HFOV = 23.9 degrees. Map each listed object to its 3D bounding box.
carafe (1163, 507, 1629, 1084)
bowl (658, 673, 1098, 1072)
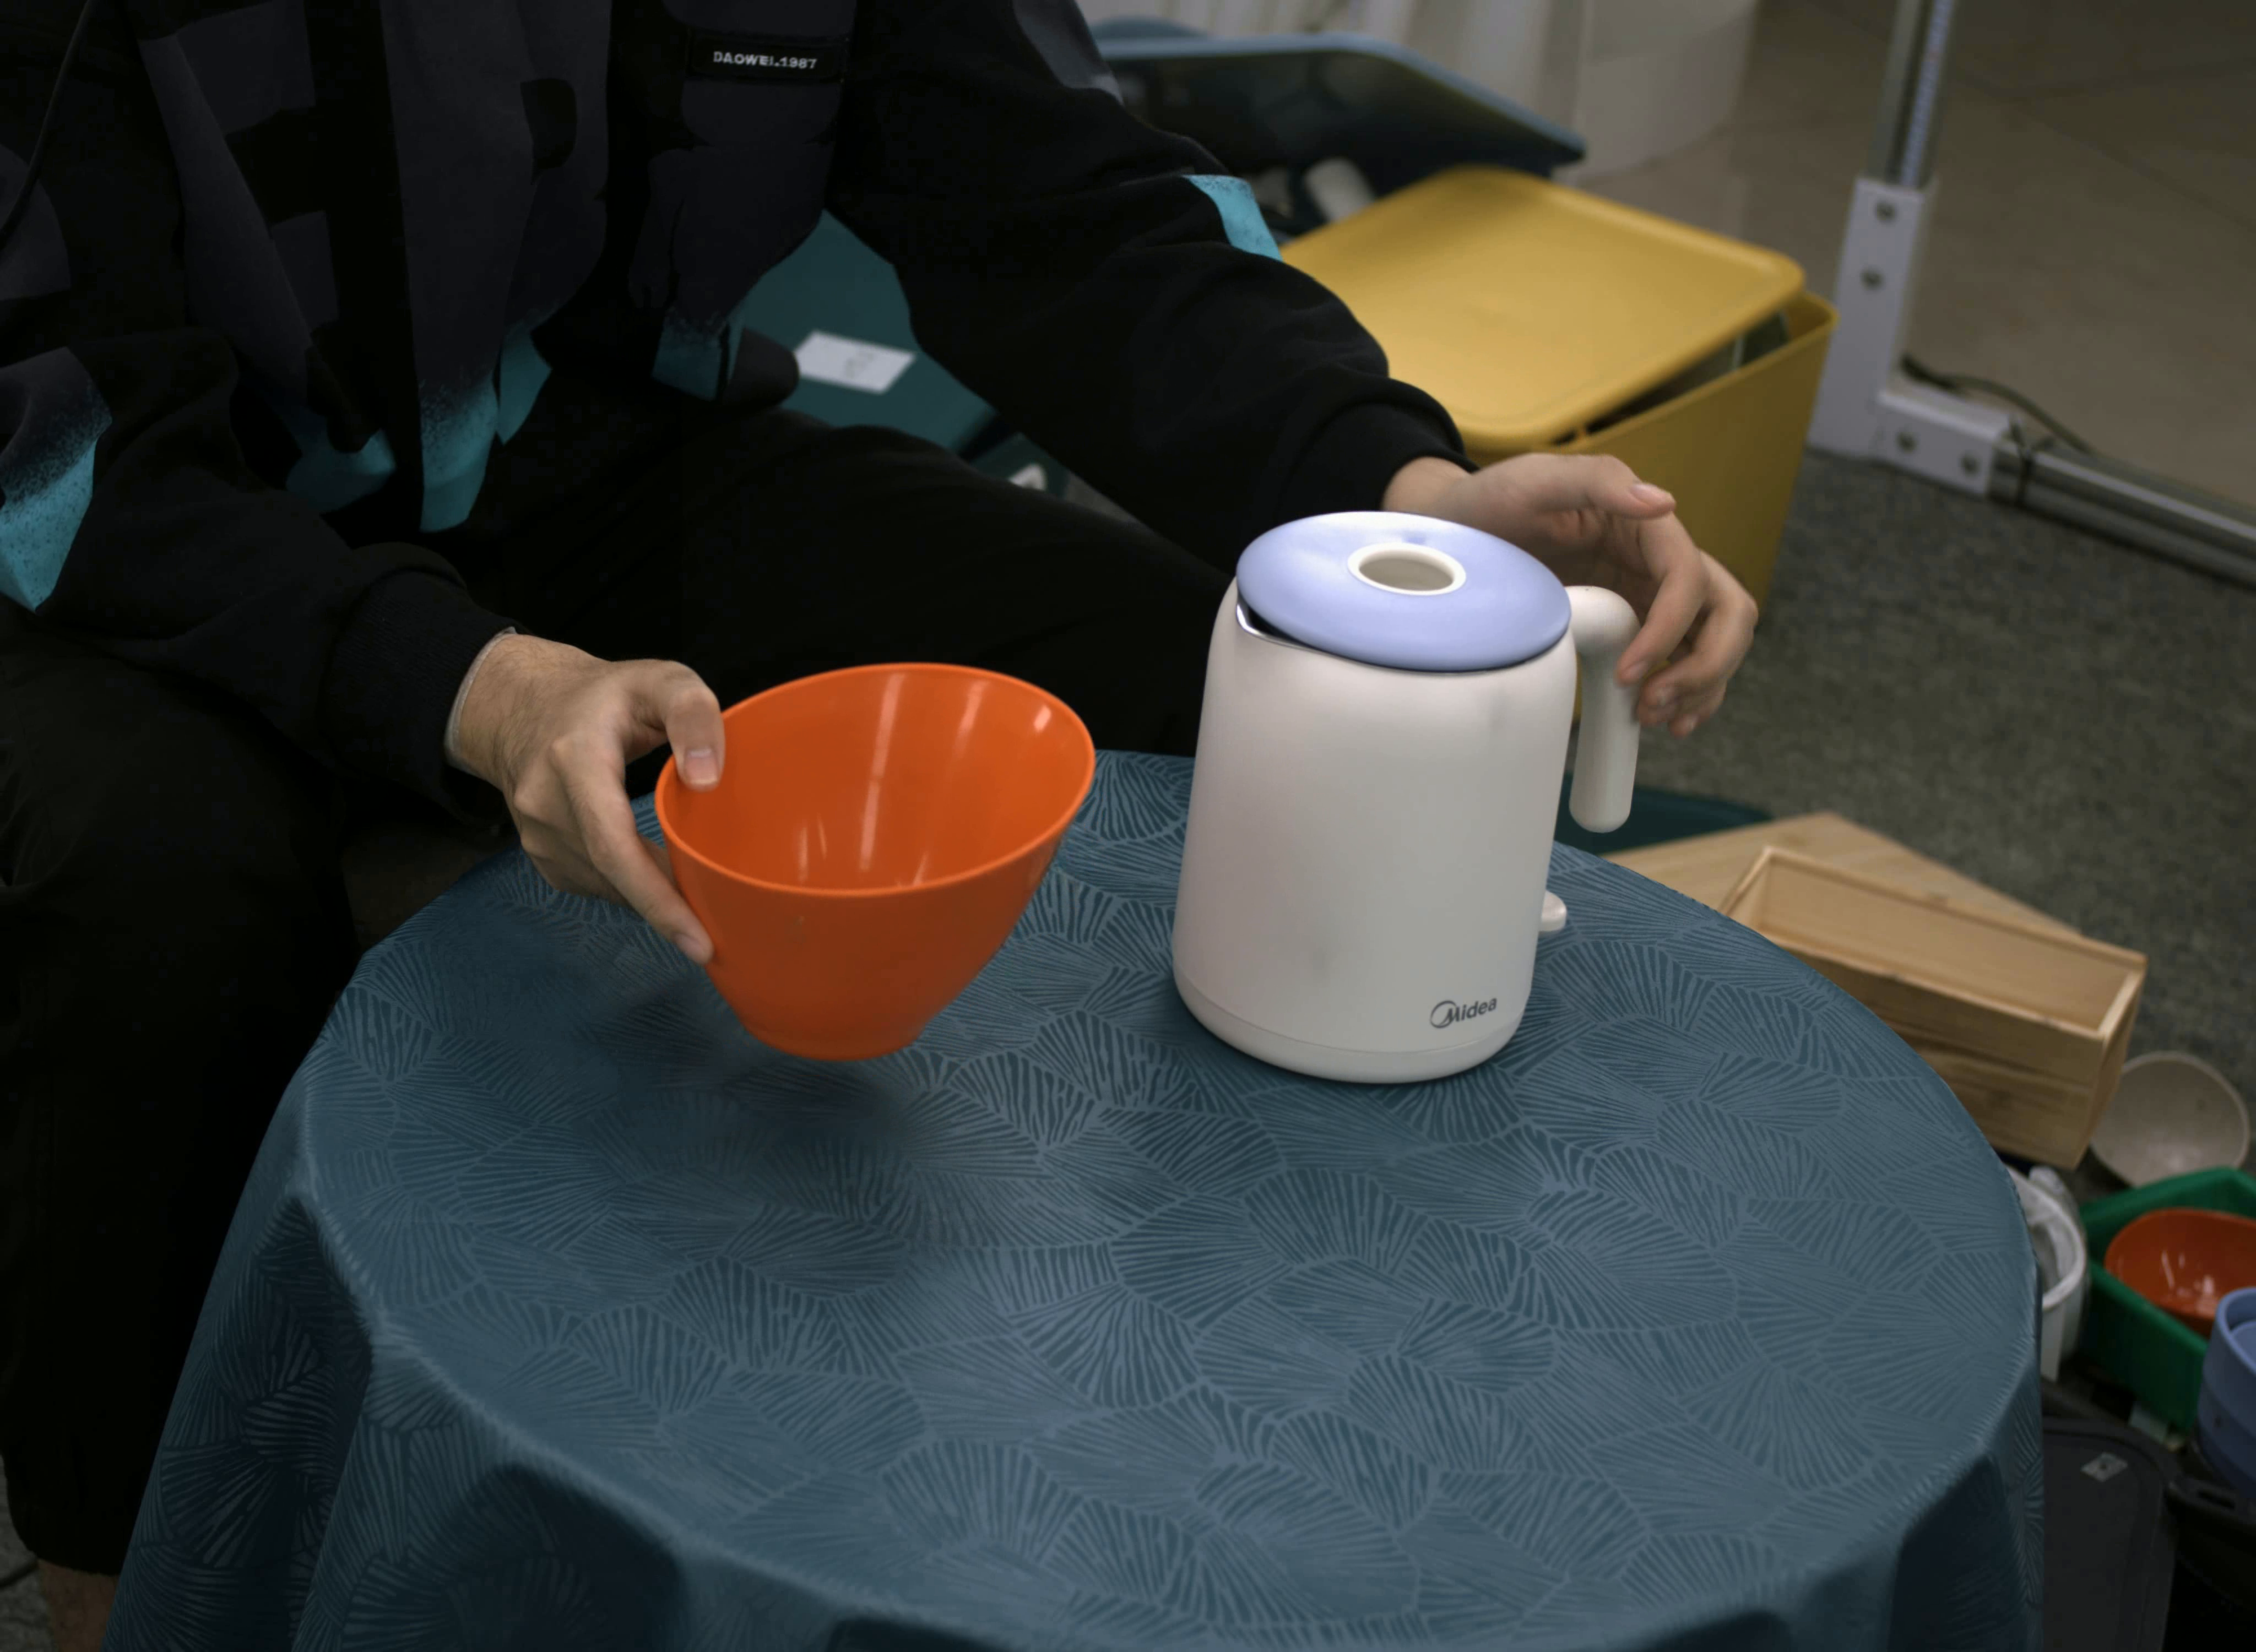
[{"bbox_3d":[0.106,-0.015,1.908,0.190,0.182,0.133,-11,32,-36],"label":"carafe"},{"bbox_3d":[-0.088,0.022,1.811,0.147,0.104,0.149,5,28,-3],"label":"bowl"}]
